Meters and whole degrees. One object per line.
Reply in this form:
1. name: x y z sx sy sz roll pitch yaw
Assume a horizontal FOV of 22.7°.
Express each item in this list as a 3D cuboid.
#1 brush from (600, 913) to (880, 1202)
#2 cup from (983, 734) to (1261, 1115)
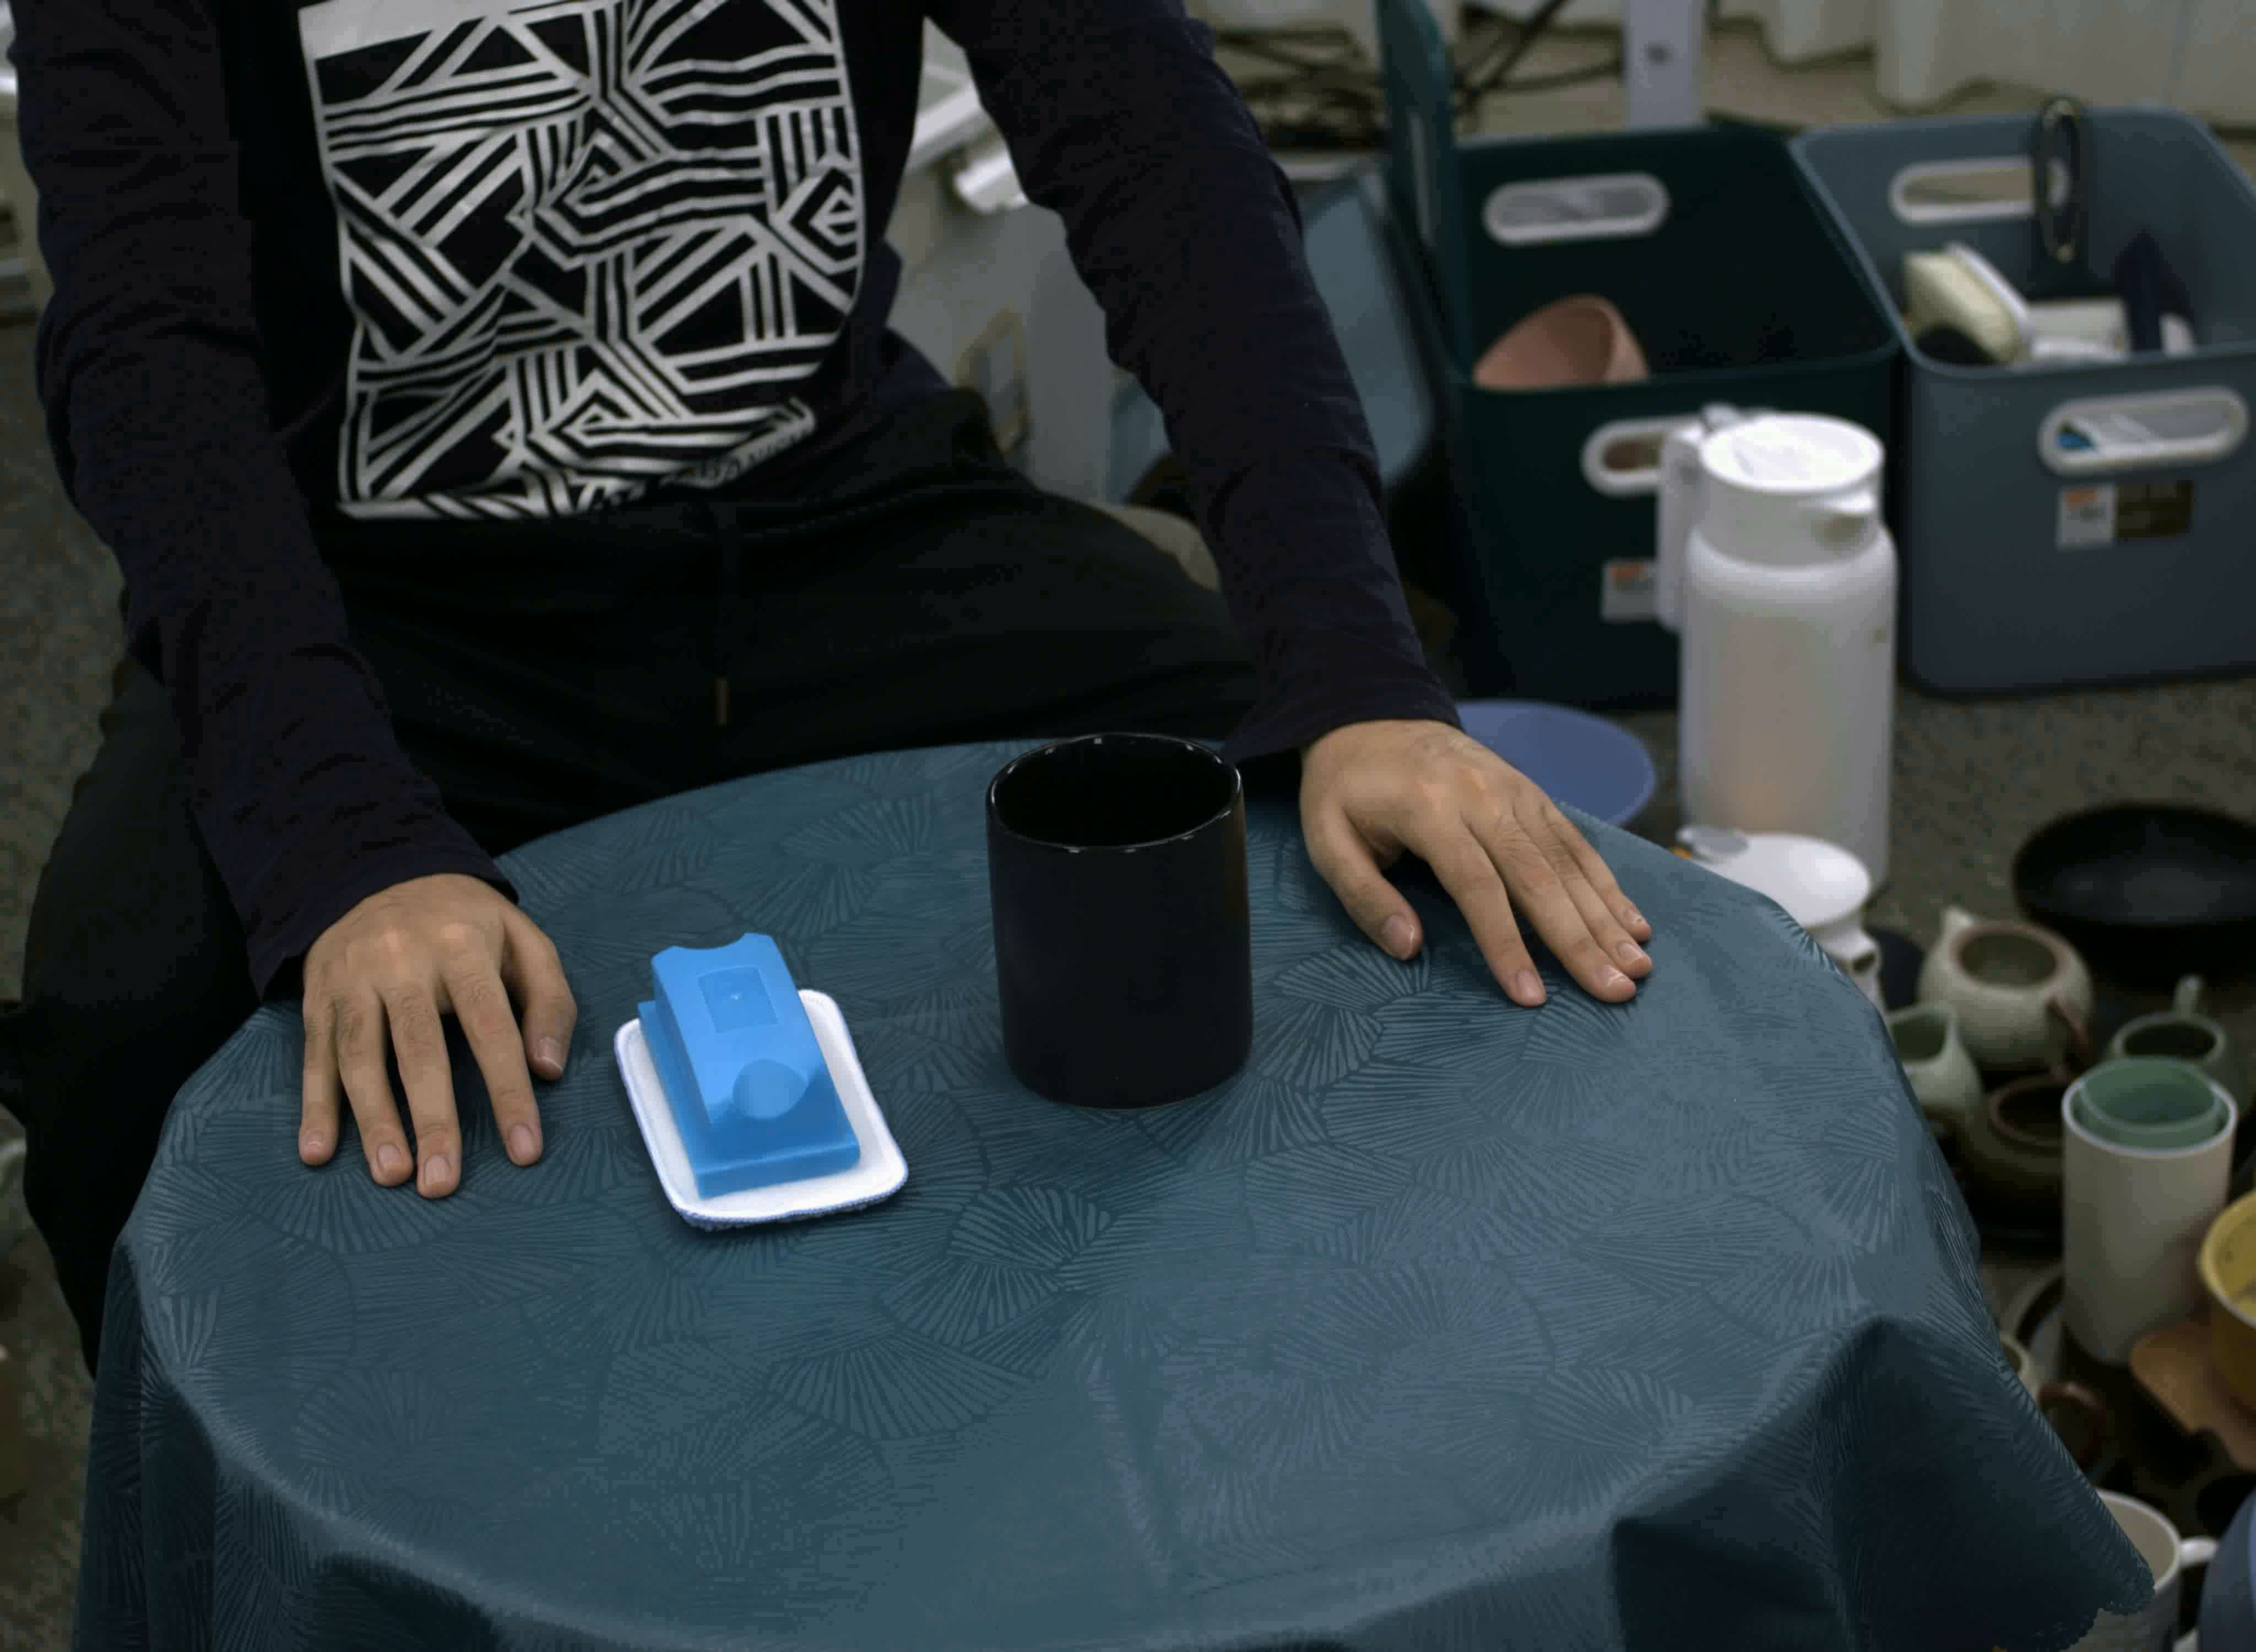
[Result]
1. brush: -0.131 0.074 1.899 0.084 0.055 0.146 -5 30 -11
2. cup: -0.007 0.027 1.936 0.089 0.104 0.124 -13 26 -15
